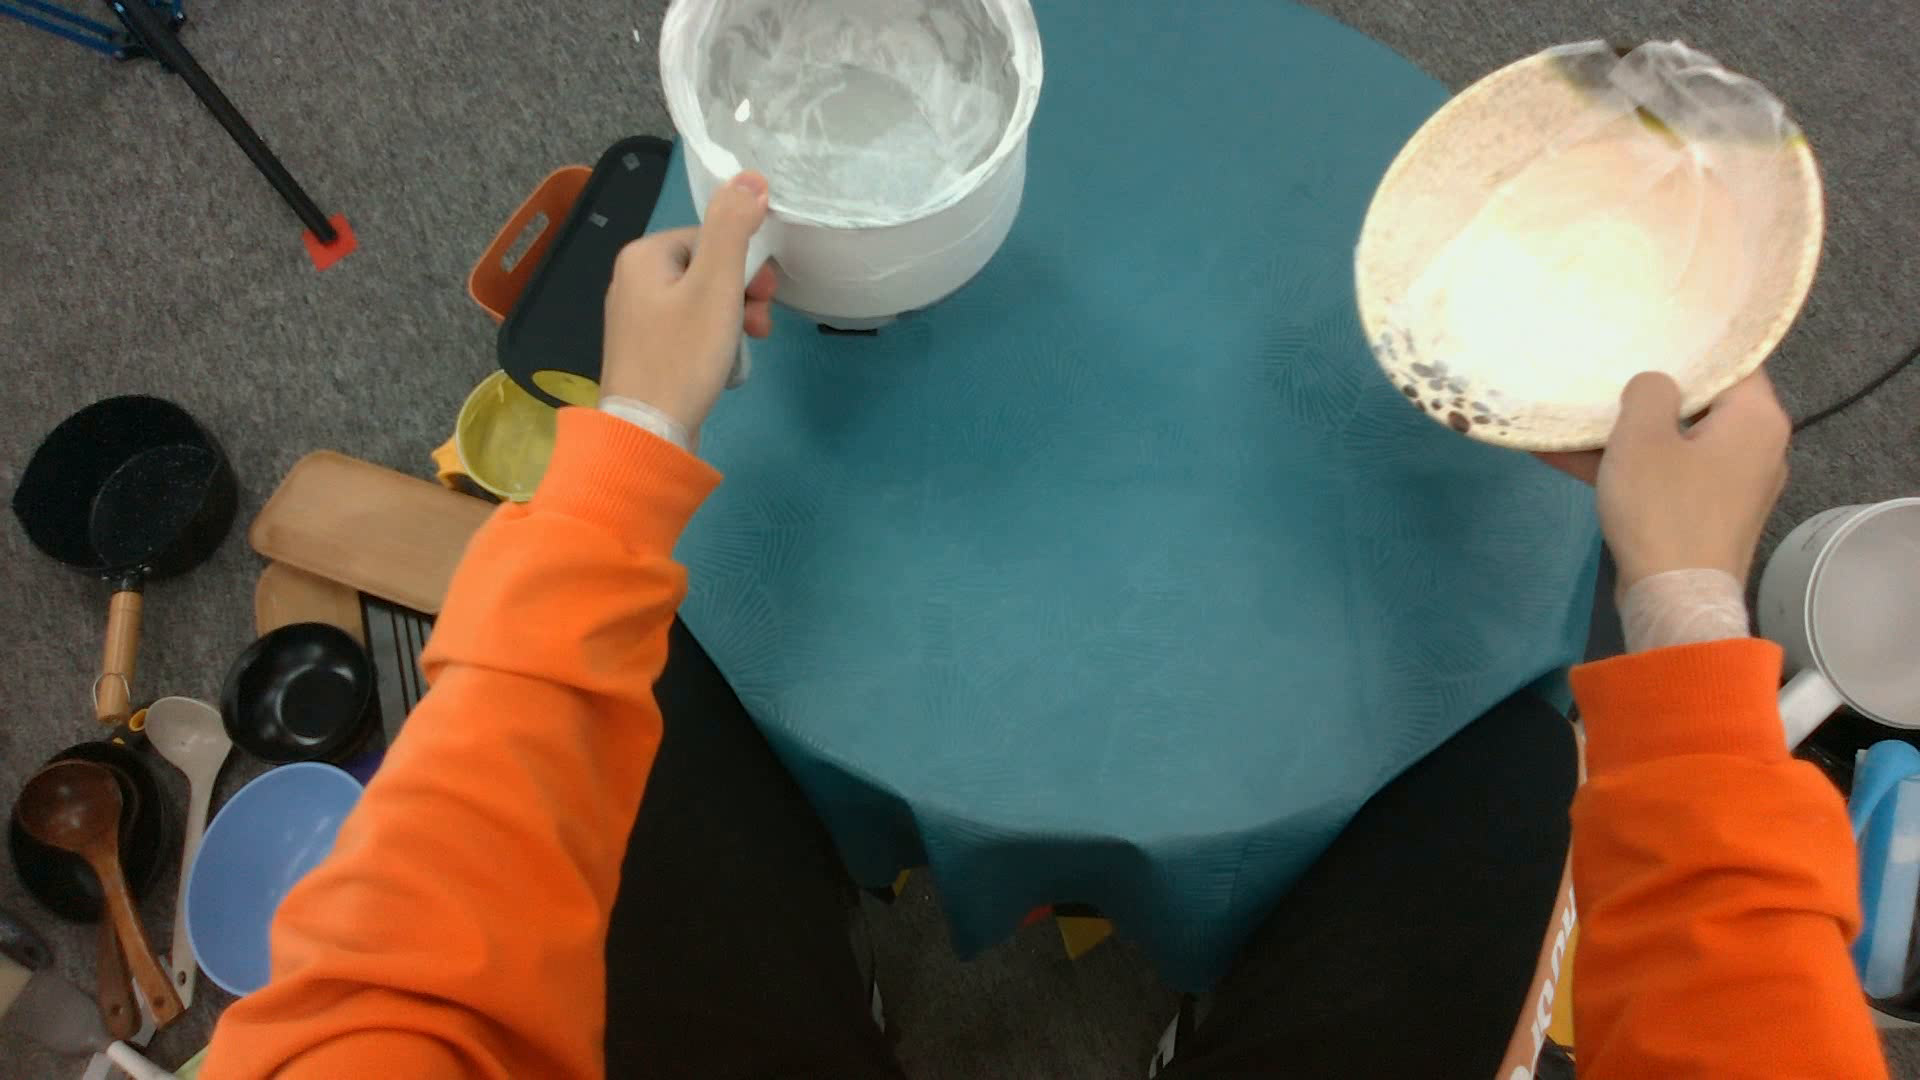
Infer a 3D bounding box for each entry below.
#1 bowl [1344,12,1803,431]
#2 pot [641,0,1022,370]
[{"bbox_3d":[0.301,-0.146,0.678,0.203,0.078,0.204,-7,77,35],"label":"bowl"},{"bbox_3d":[-0.077,-0.196,0.692,0.179,0.136,0.234,30,75,4],"label":"pot"}]
